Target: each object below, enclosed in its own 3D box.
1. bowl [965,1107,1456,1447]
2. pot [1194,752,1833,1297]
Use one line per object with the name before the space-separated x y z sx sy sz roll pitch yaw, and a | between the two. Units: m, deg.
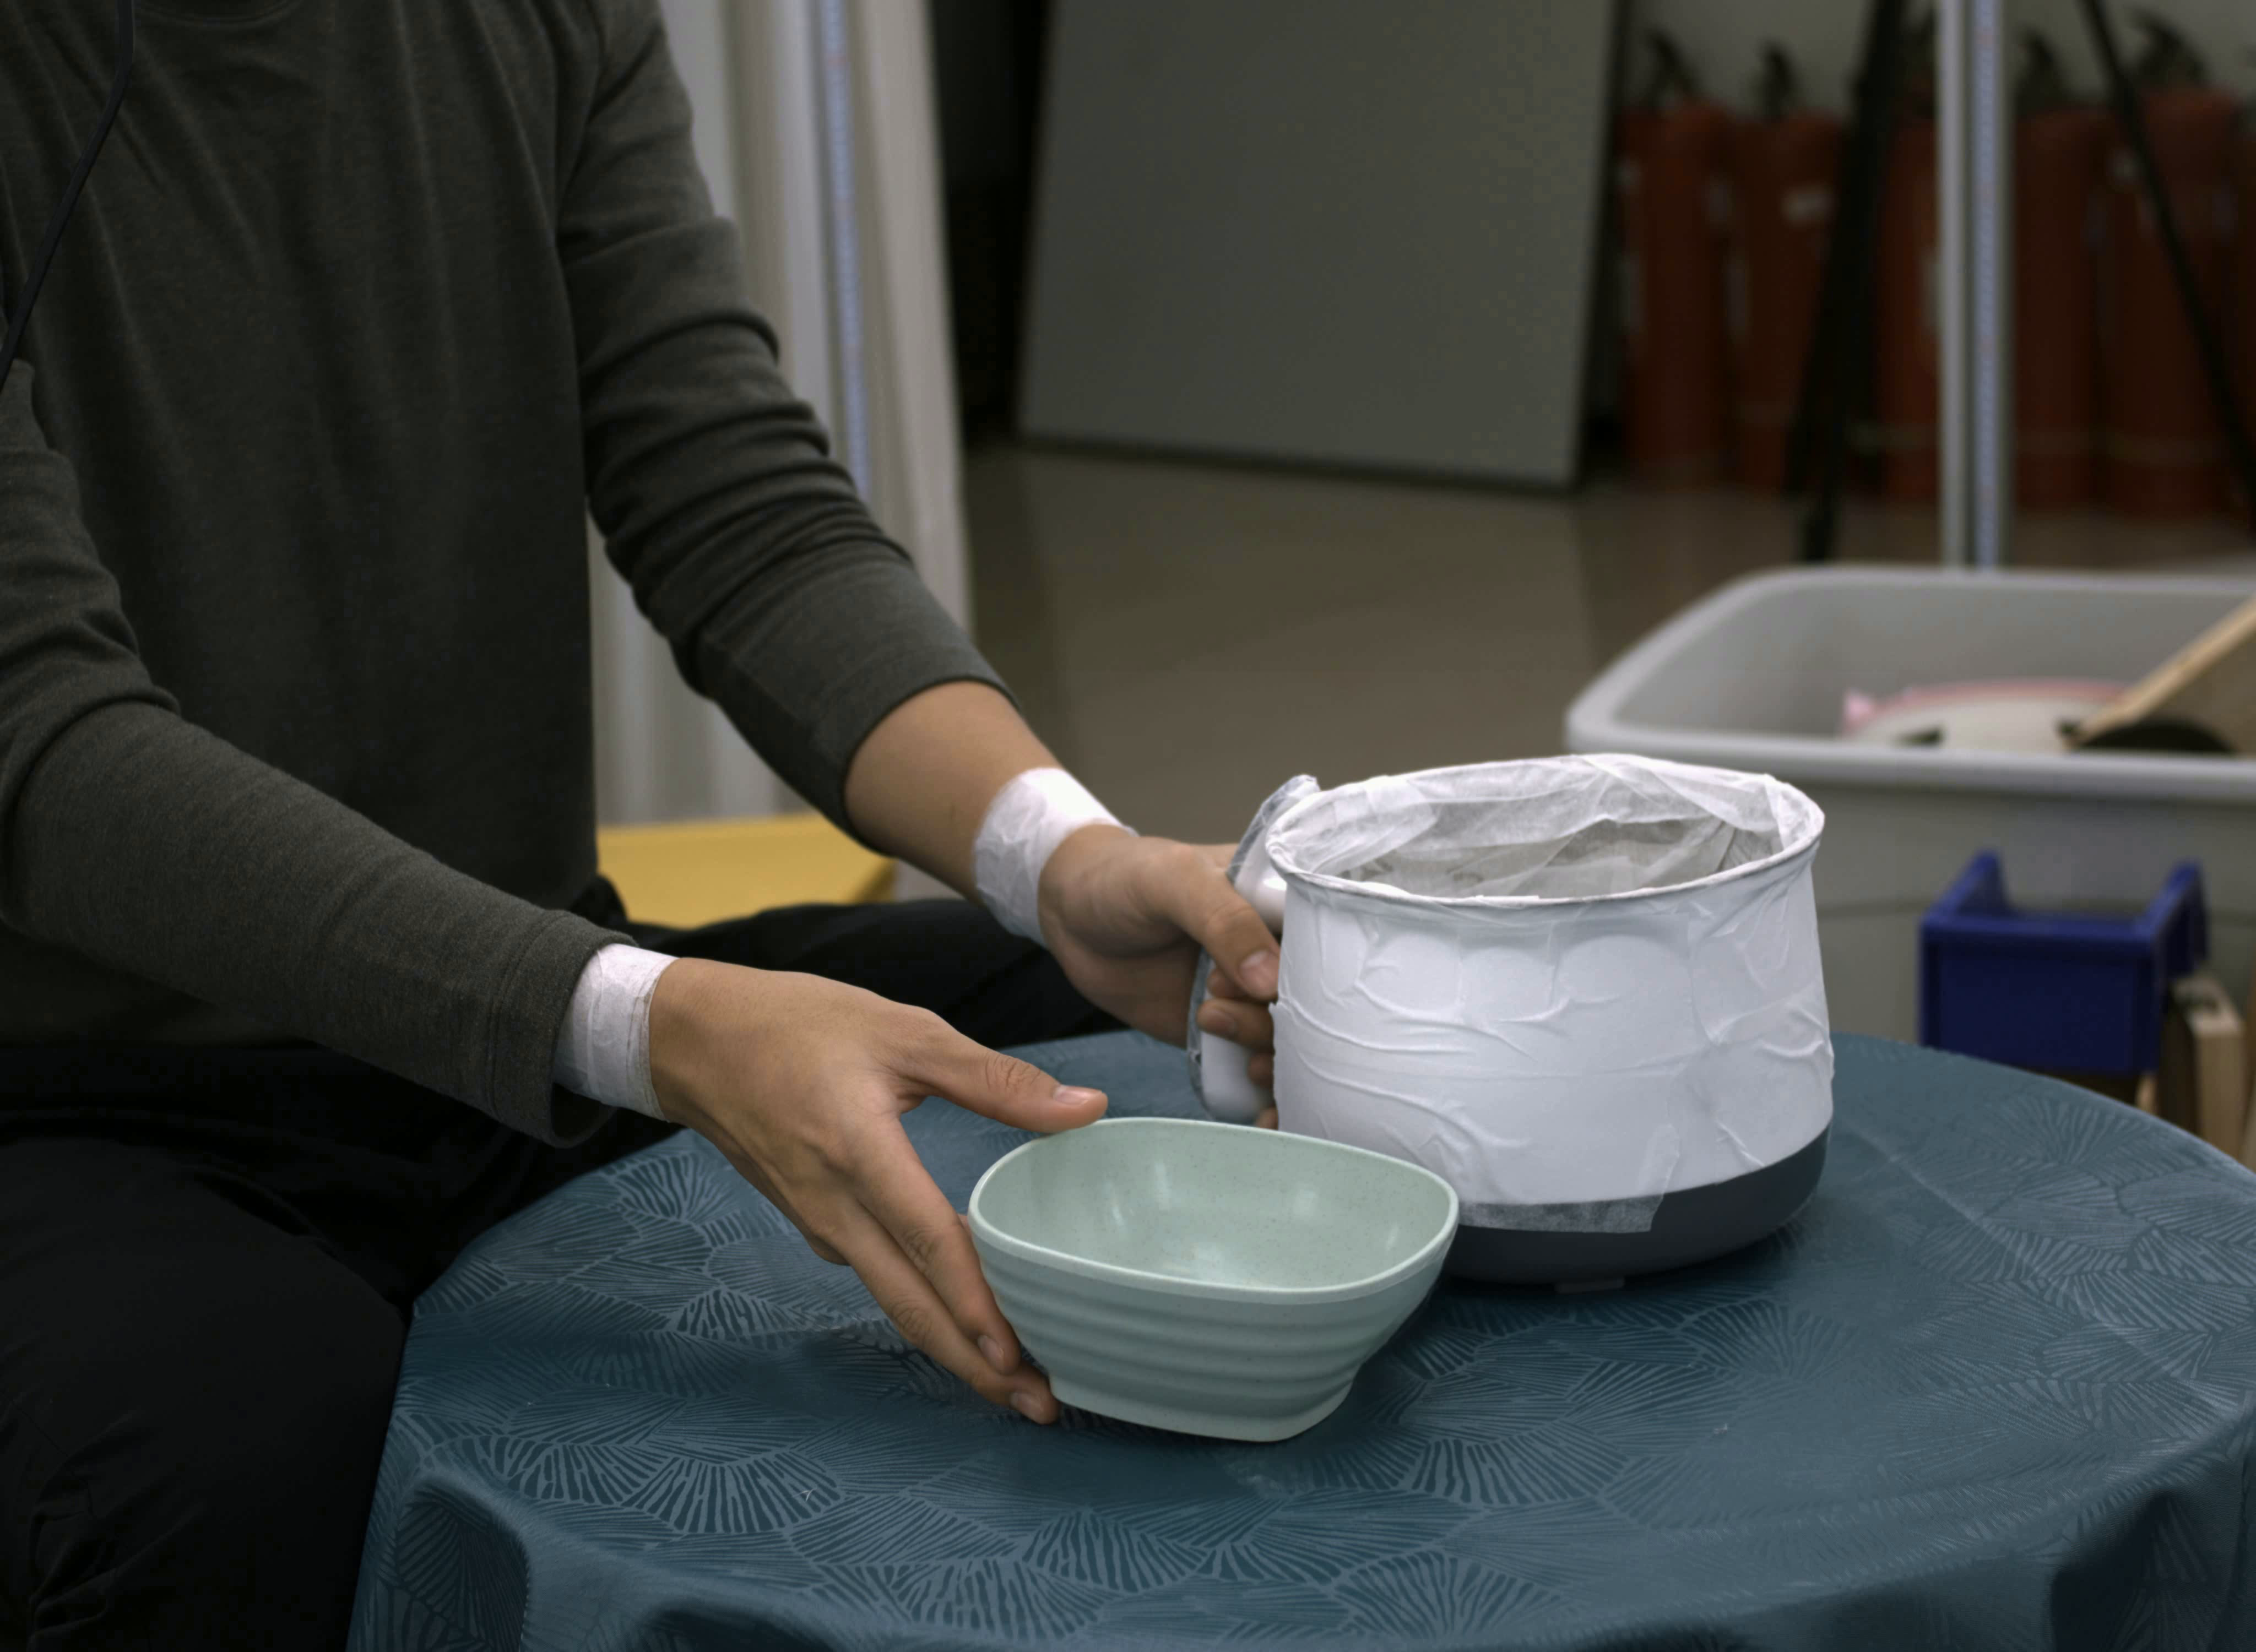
bowl | 0.023 0.135 1.569 0.149 0.059 0.152 4 16 -2
pot | 0.113 0.058 1.715 0.235 0.138 0.175 7 18 41
